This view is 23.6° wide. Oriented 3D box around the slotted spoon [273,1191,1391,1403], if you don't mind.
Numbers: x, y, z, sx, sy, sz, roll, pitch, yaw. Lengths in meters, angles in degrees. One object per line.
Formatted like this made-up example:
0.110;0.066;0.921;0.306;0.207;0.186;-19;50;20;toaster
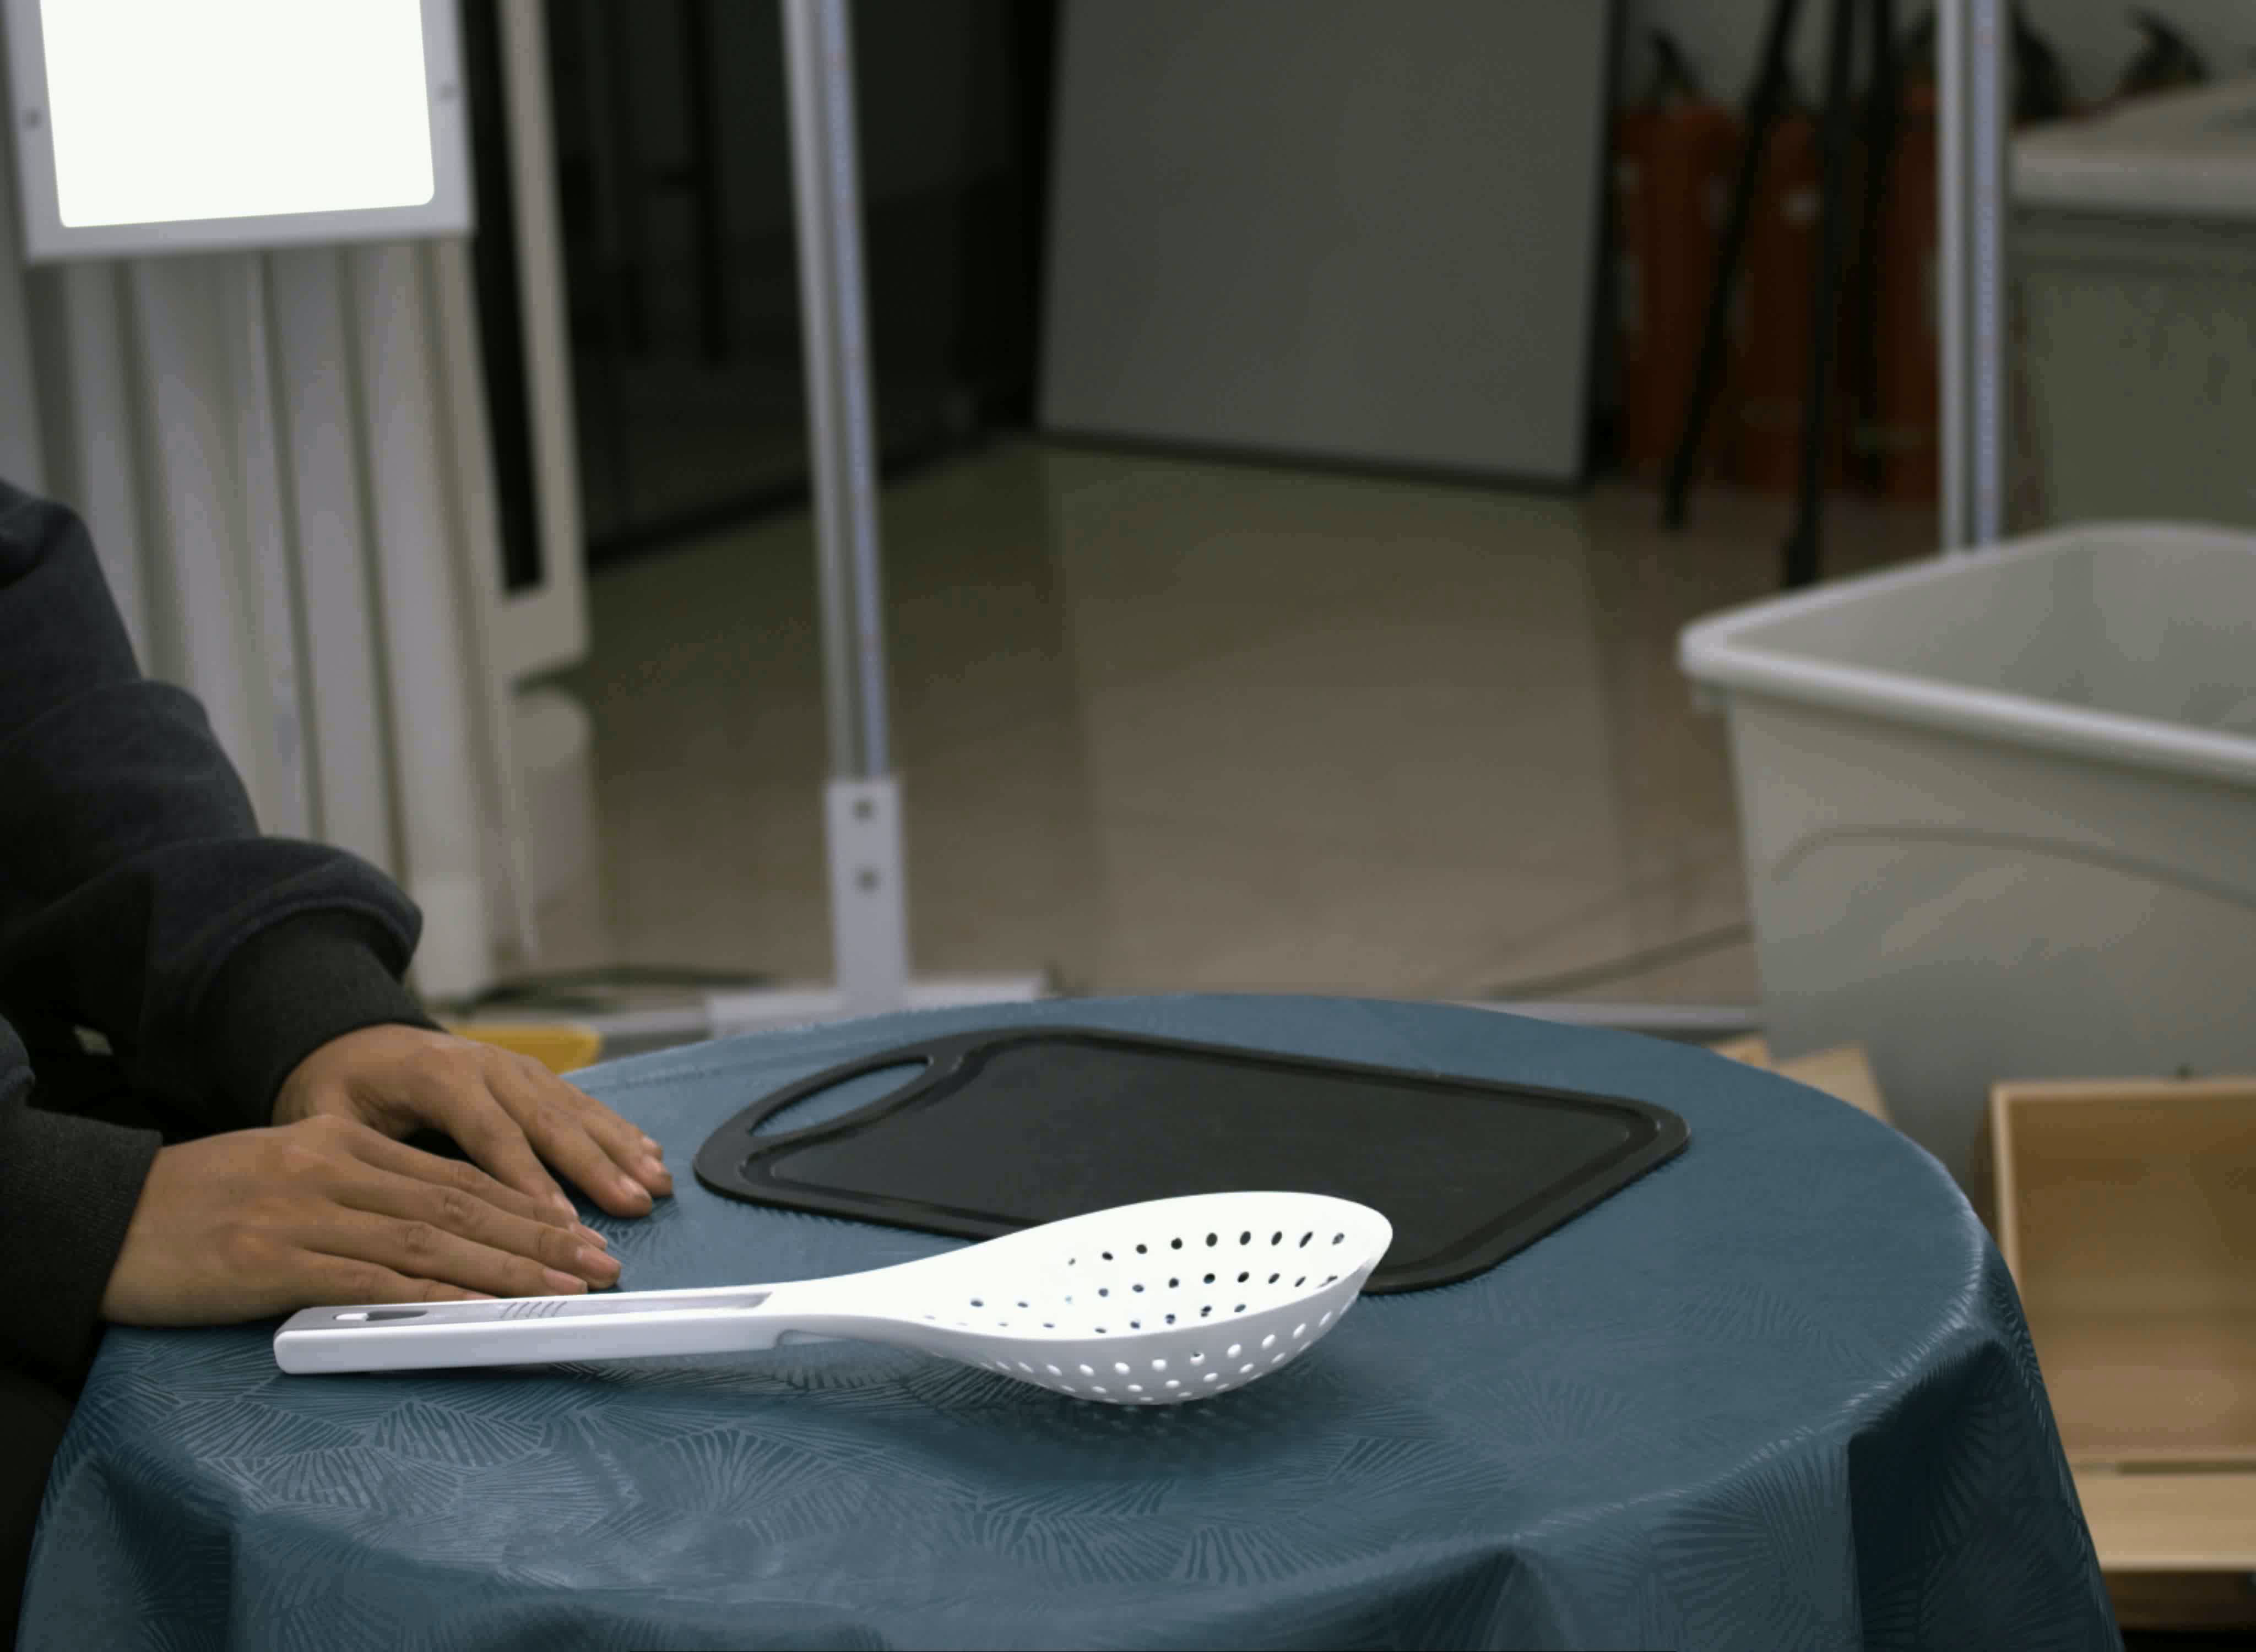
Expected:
-0.091;0.144;1.603;0.348;0.046;0.135;-1;12;16;slotted spoon

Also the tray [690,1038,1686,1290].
0.012;0.109;1.805;0.327;0.010;0.207;6;16;35;tray
